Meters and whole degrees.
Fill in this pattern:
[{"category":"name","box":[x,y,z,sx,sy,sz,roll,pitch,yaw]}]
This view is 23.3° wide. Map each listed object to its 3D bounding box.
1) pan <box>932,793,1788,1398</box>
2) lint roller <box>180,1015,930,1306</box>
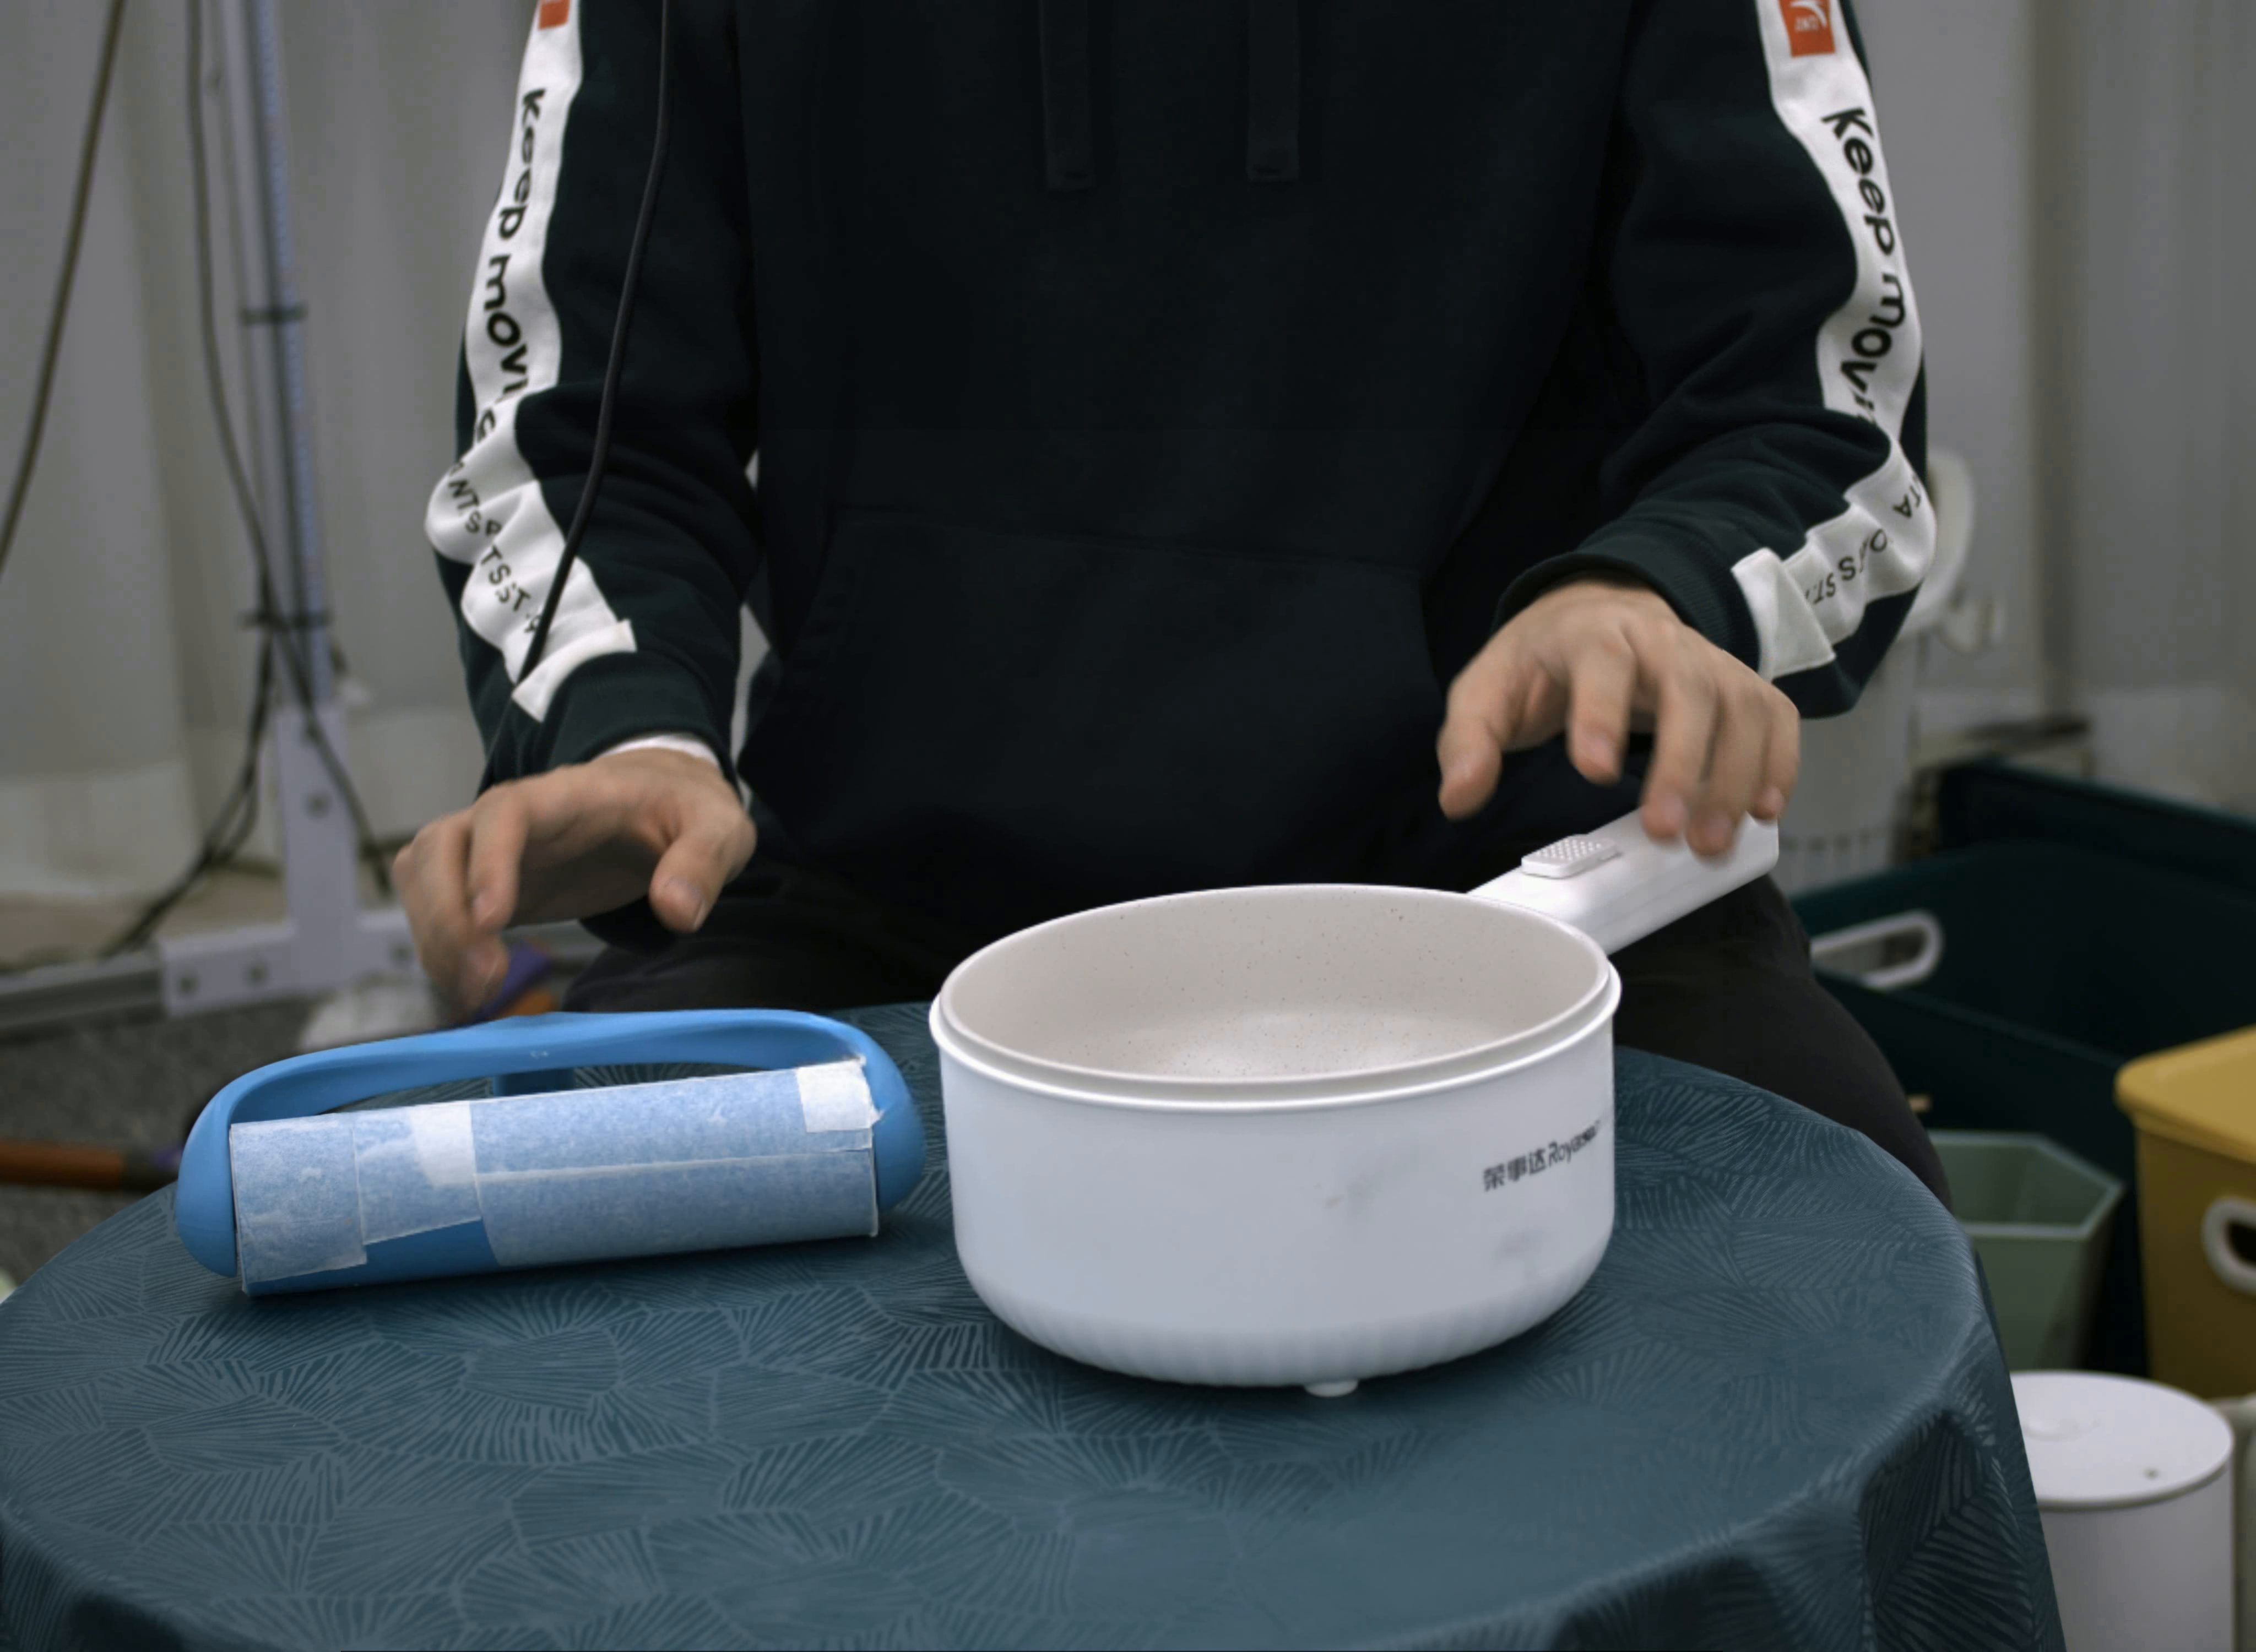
[{"category":"pan","box":[0.091,0.075,1.653,0.202,0.102,0.354,7,17,37]},{"category":"lint roller","box":[-0.186,0.093,1.724,0.228,0.067,0.182,-8,16,-10]}]
